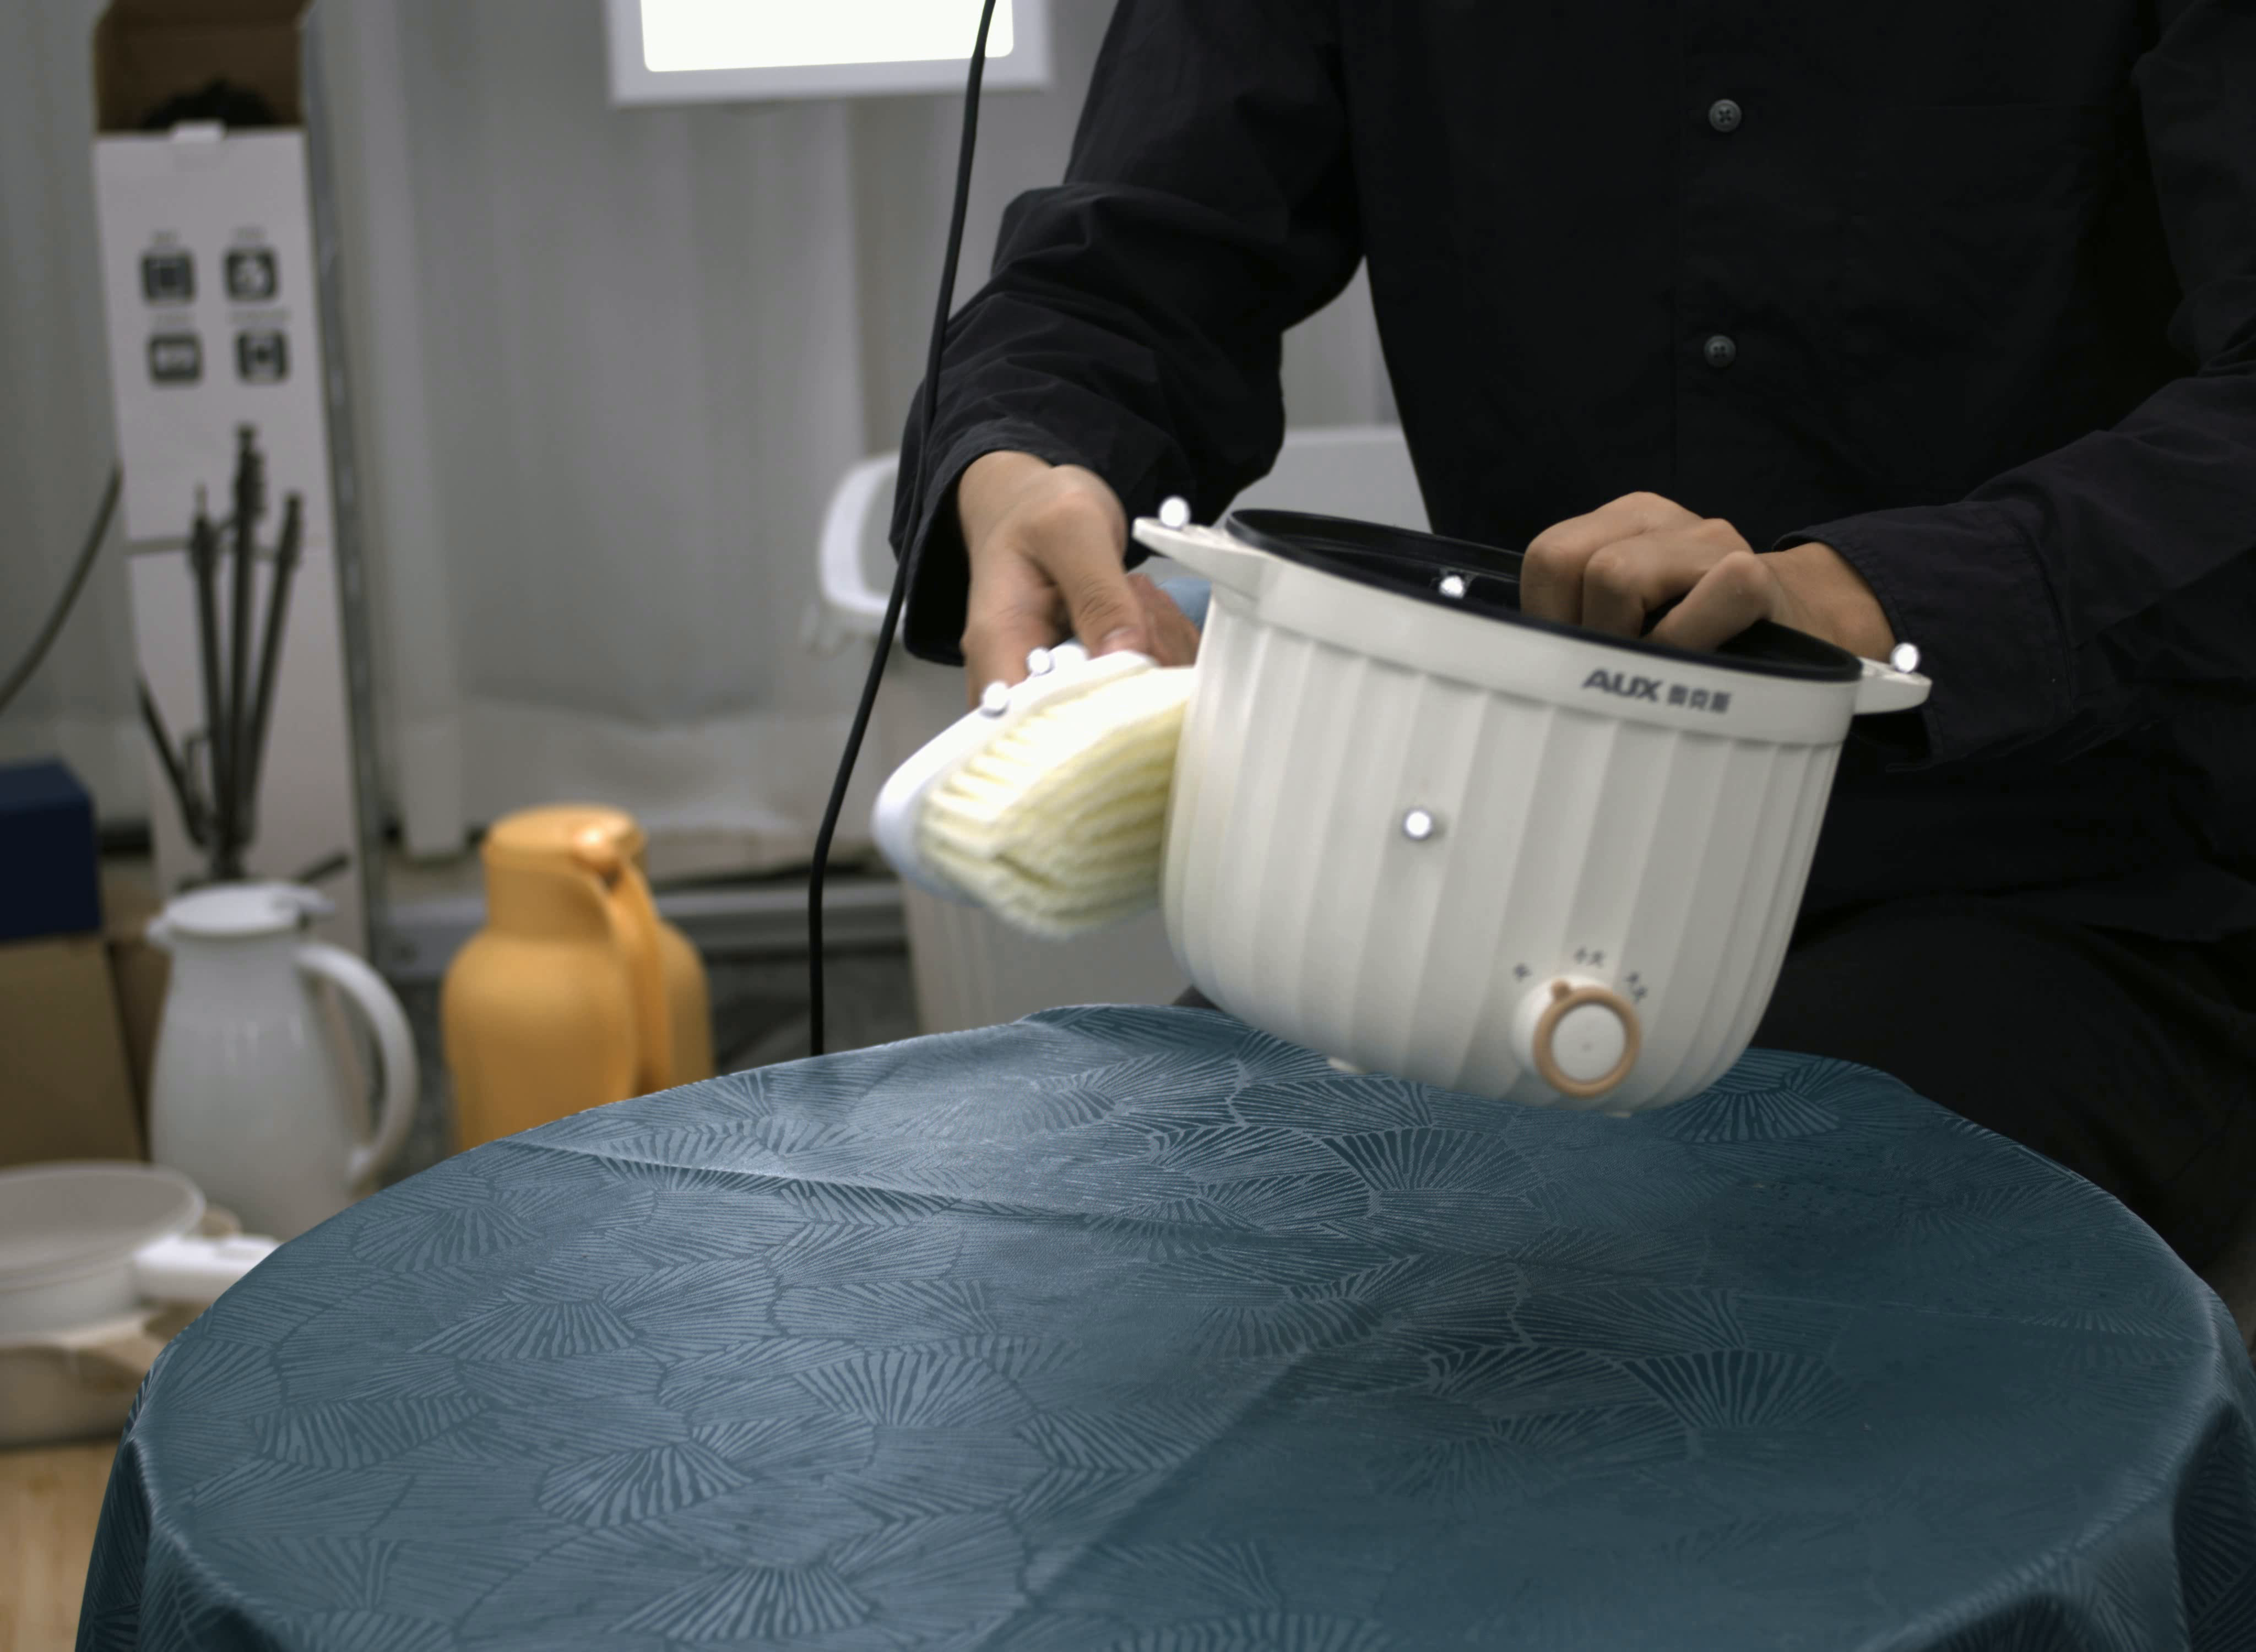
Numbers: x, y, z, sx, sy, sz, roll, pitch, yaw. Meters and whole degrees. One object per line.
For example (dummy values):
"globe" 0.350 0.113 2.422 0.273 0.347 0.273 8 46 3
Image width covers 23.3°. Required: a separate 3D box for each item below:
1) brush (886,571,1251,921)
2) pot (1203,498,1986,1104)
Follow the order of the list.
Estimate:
"brush" 0.016 -0.036 1.636 0.083 0.084 0.326 -43 -2 21
"pot" 0.121 -0.004 1.519 0.239 0.143 0.191 9 6 -20
